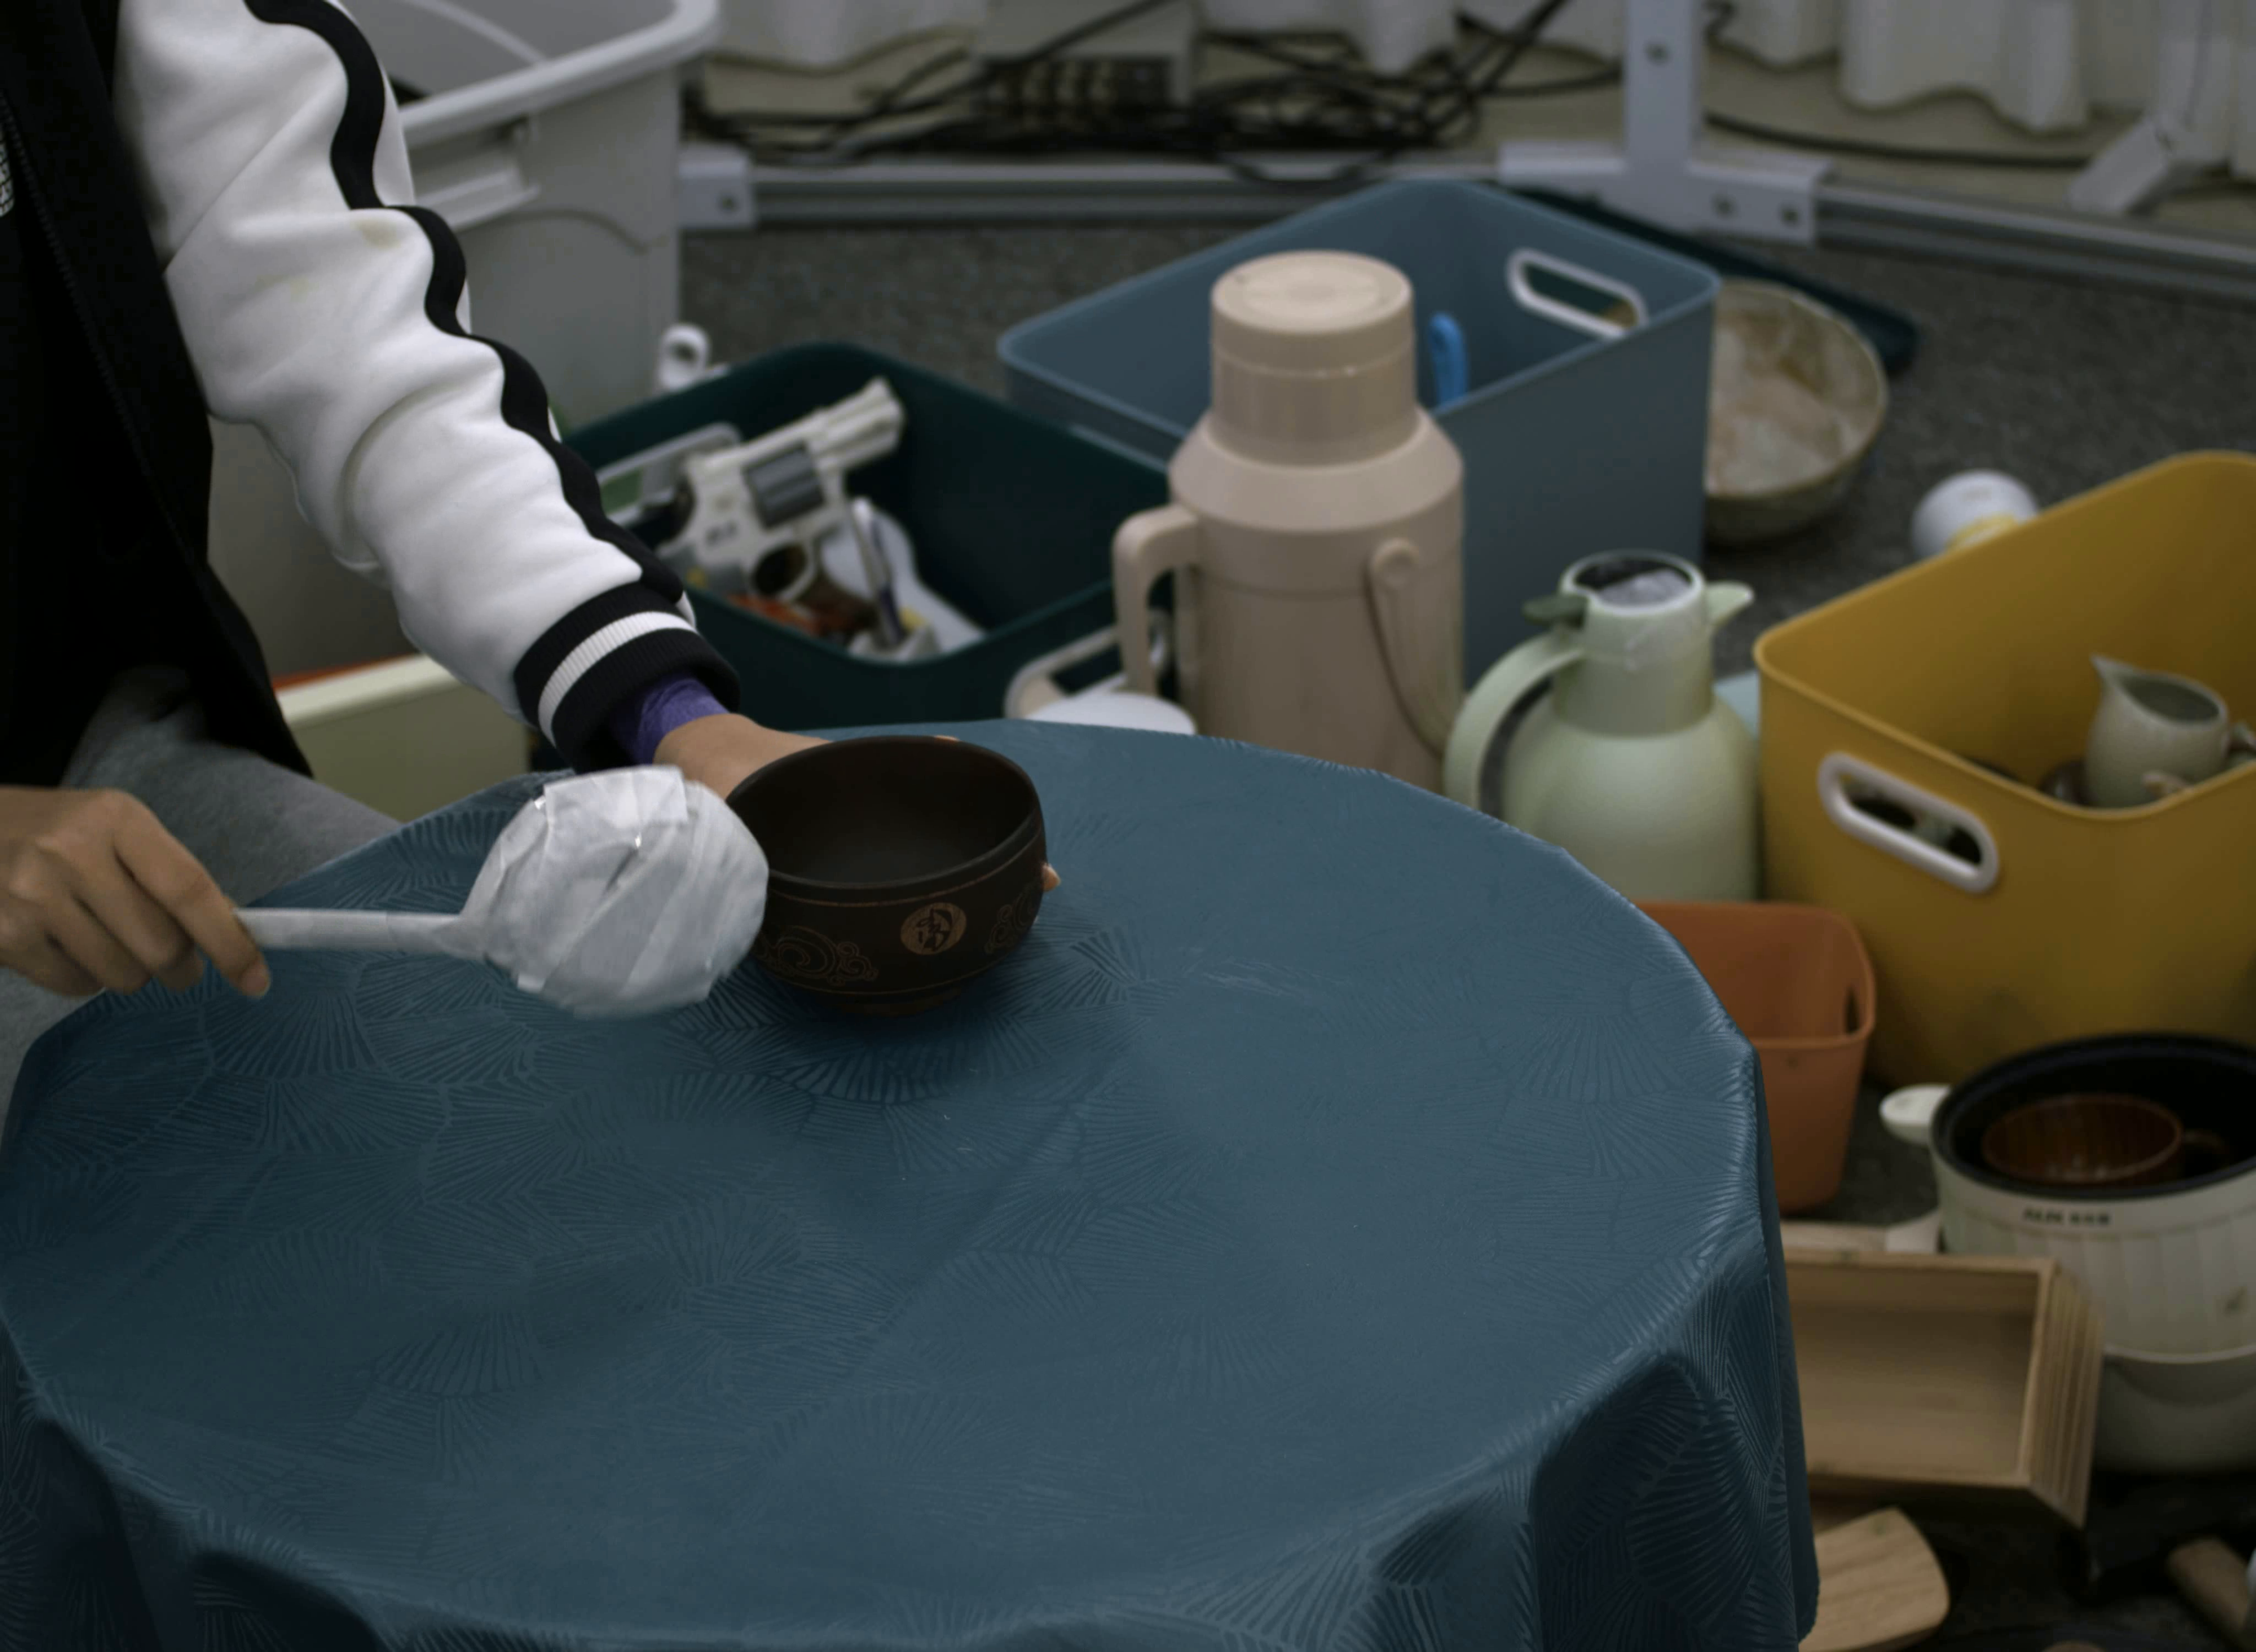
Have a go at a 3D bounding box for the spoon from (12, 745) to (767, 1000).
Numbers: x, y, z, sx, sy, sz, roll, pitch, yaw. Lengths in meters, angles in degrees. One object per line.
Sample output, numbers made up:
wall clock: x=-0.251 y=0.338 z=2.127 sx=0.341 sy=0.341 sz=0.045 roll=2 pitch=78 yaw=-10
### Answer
spoon: x=-0.247 y=0.020 z=1.862 sx=0.275 sy=0.100 sz=0.060 roll=-1 pitch=35 yaw=30

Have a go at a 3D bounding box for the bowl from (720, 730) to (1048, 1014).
bowl: x=-0.086 y=0.023 z=1.982 sx=0.117 sy=0.069 sz=0.120 roll=-2 pitch=27 yaw=1
